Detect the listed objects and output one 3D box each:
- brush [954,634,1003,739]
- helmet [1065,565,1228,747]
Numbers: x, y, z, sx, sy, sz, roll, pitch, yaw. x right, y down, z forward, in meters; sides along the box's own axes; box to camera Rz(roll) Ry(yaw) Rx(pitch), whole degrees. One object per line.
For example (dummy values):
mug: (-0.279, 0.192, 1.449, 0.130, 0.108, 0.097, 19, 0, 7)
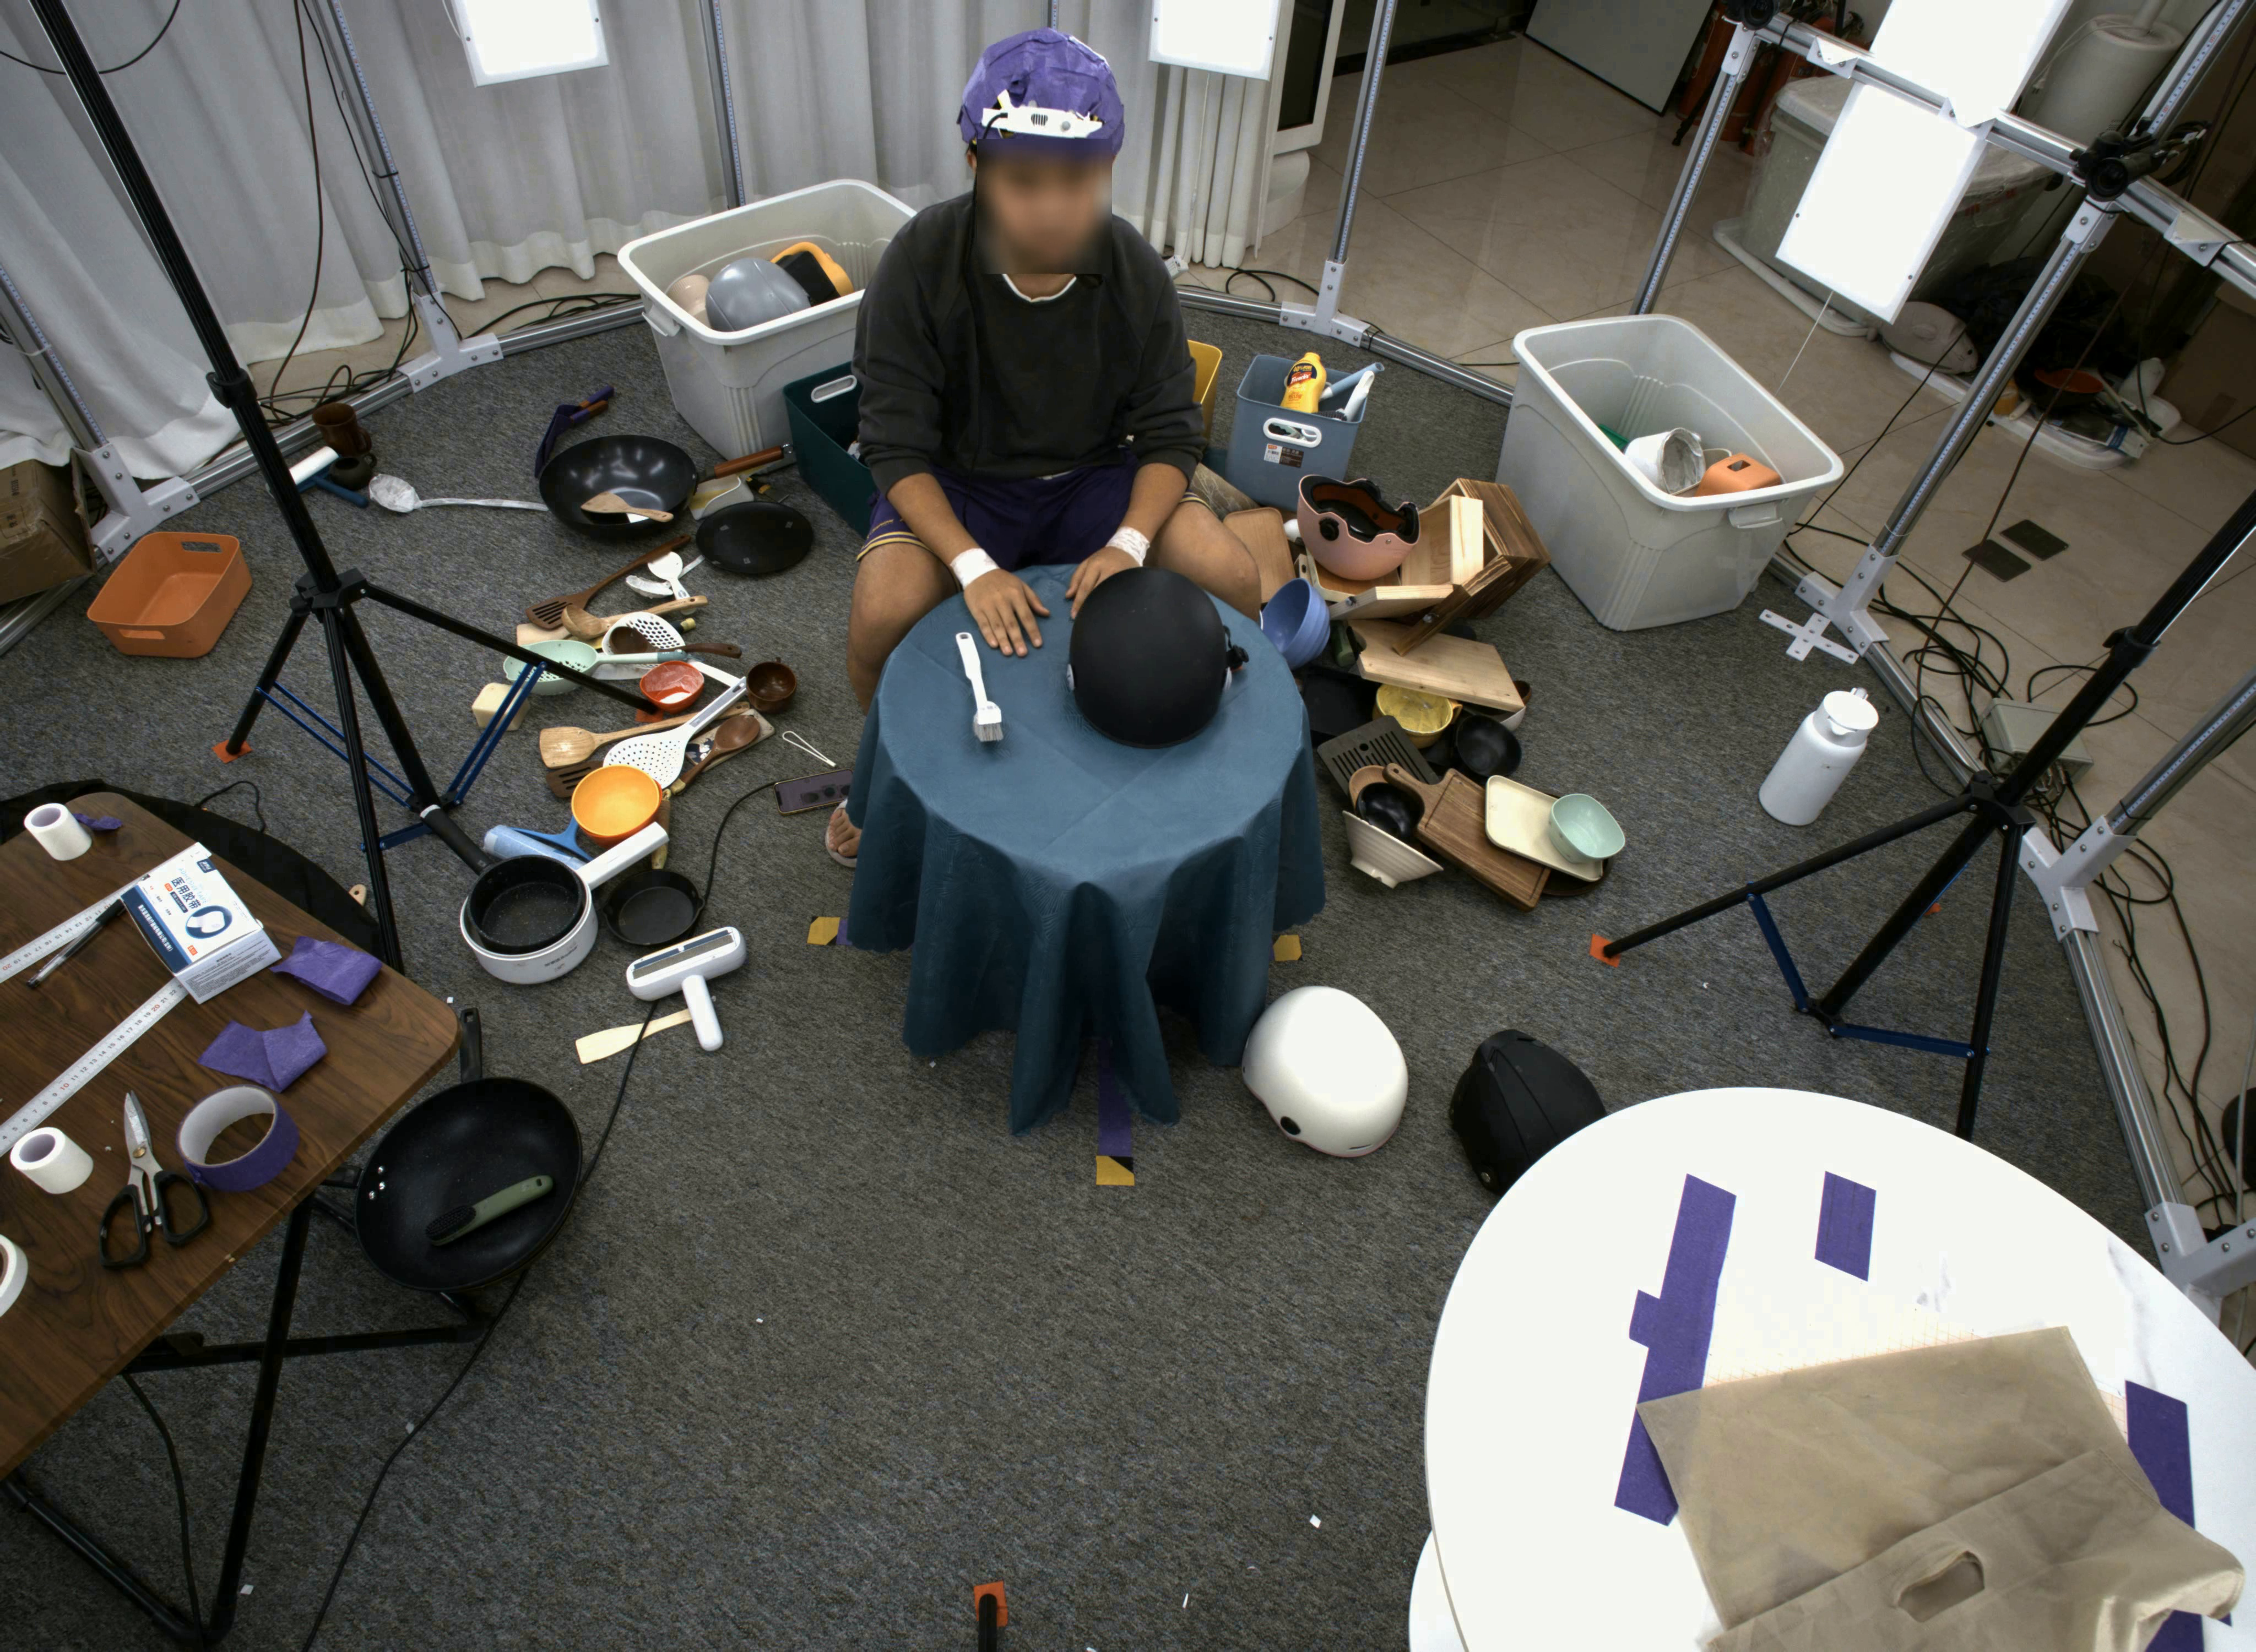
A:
brush: (-0.213, -0.195, 1.806, 0.034, 0.049, 0.249, -9, 37, -12)
helmet: (0.028, -0.259, 1.792, 0.230, 0.163, 0.280, 2, 51, 0)
